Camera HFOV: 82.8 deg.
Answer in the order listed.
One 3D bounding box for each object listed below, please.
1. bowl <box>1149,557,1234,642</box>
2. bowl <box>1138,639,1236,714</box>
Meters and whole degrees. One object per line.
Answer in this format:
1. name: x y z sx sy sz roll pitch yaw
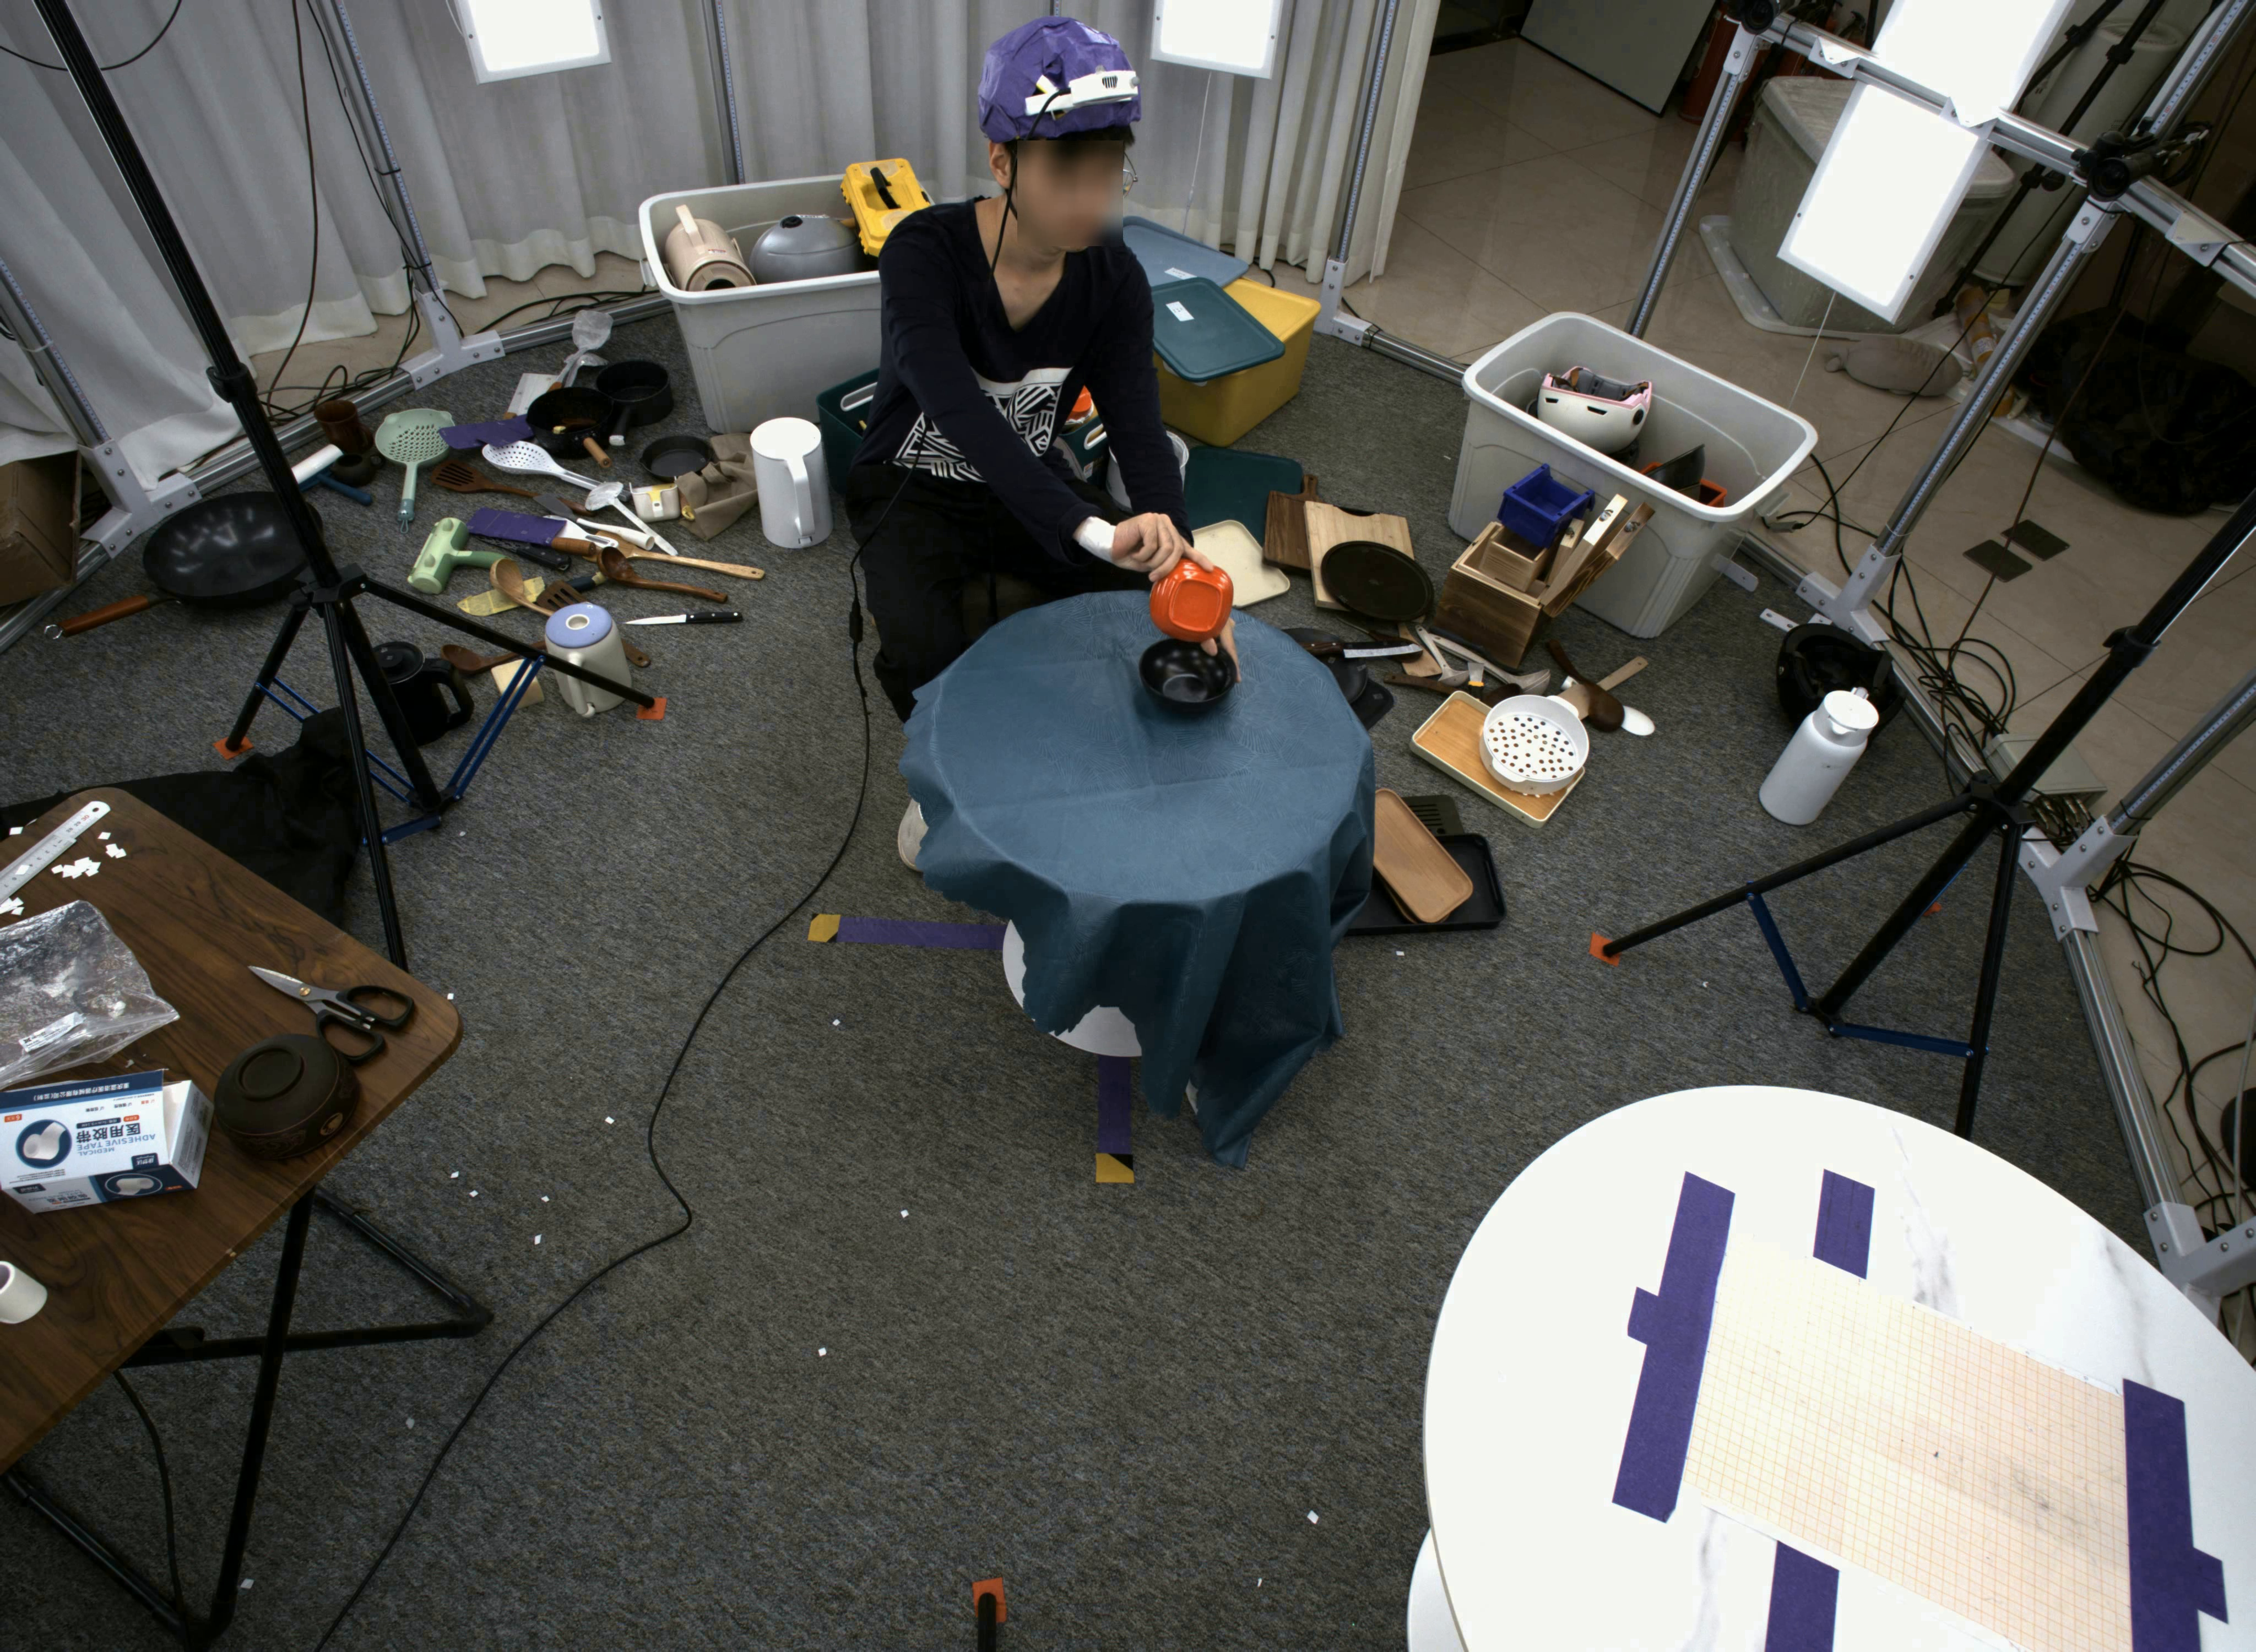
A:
1. bowl: 0.085 -0.295 1.692 0.119 0.117 0.052 3 16 -2
2. bowl: 0.082 -0.204 1.821 0.140 0.048 0.143 1 44 -1
